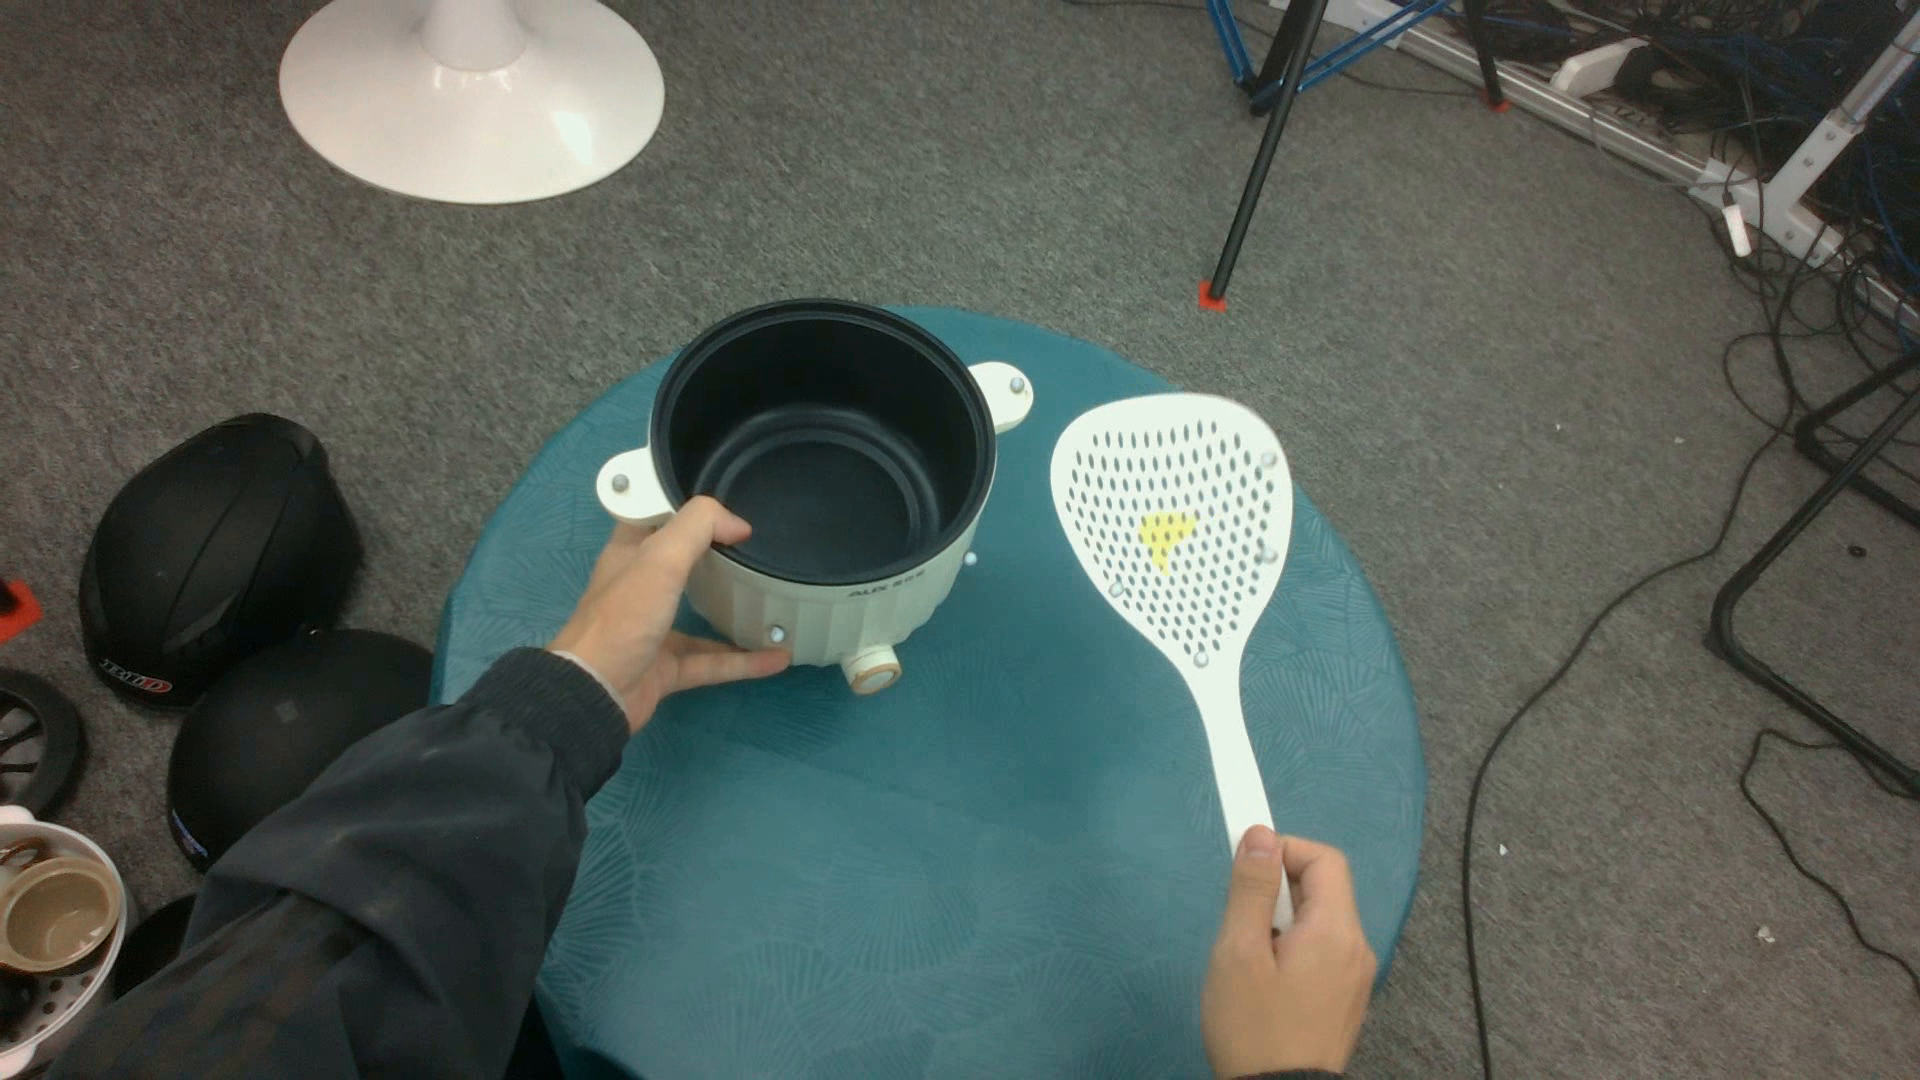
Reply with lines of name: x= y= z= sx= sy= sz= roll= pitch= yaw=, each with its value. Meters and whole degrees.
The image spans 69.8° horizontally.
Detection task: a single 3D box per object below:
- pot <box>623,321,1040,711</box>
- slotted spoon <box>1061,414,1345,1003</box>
pot: x=-0.068 y=-0.008 z=0.791 sx=0.241 sy=0.142 sz=0.191 roll=-20 pitch=61 yaw=-18
slotted spoon: x=0.144 y=0.072 z=0.746 sx=0.137 sy=0.050 sz=0.349 roll=-5 pitch=51 yaw=-8
